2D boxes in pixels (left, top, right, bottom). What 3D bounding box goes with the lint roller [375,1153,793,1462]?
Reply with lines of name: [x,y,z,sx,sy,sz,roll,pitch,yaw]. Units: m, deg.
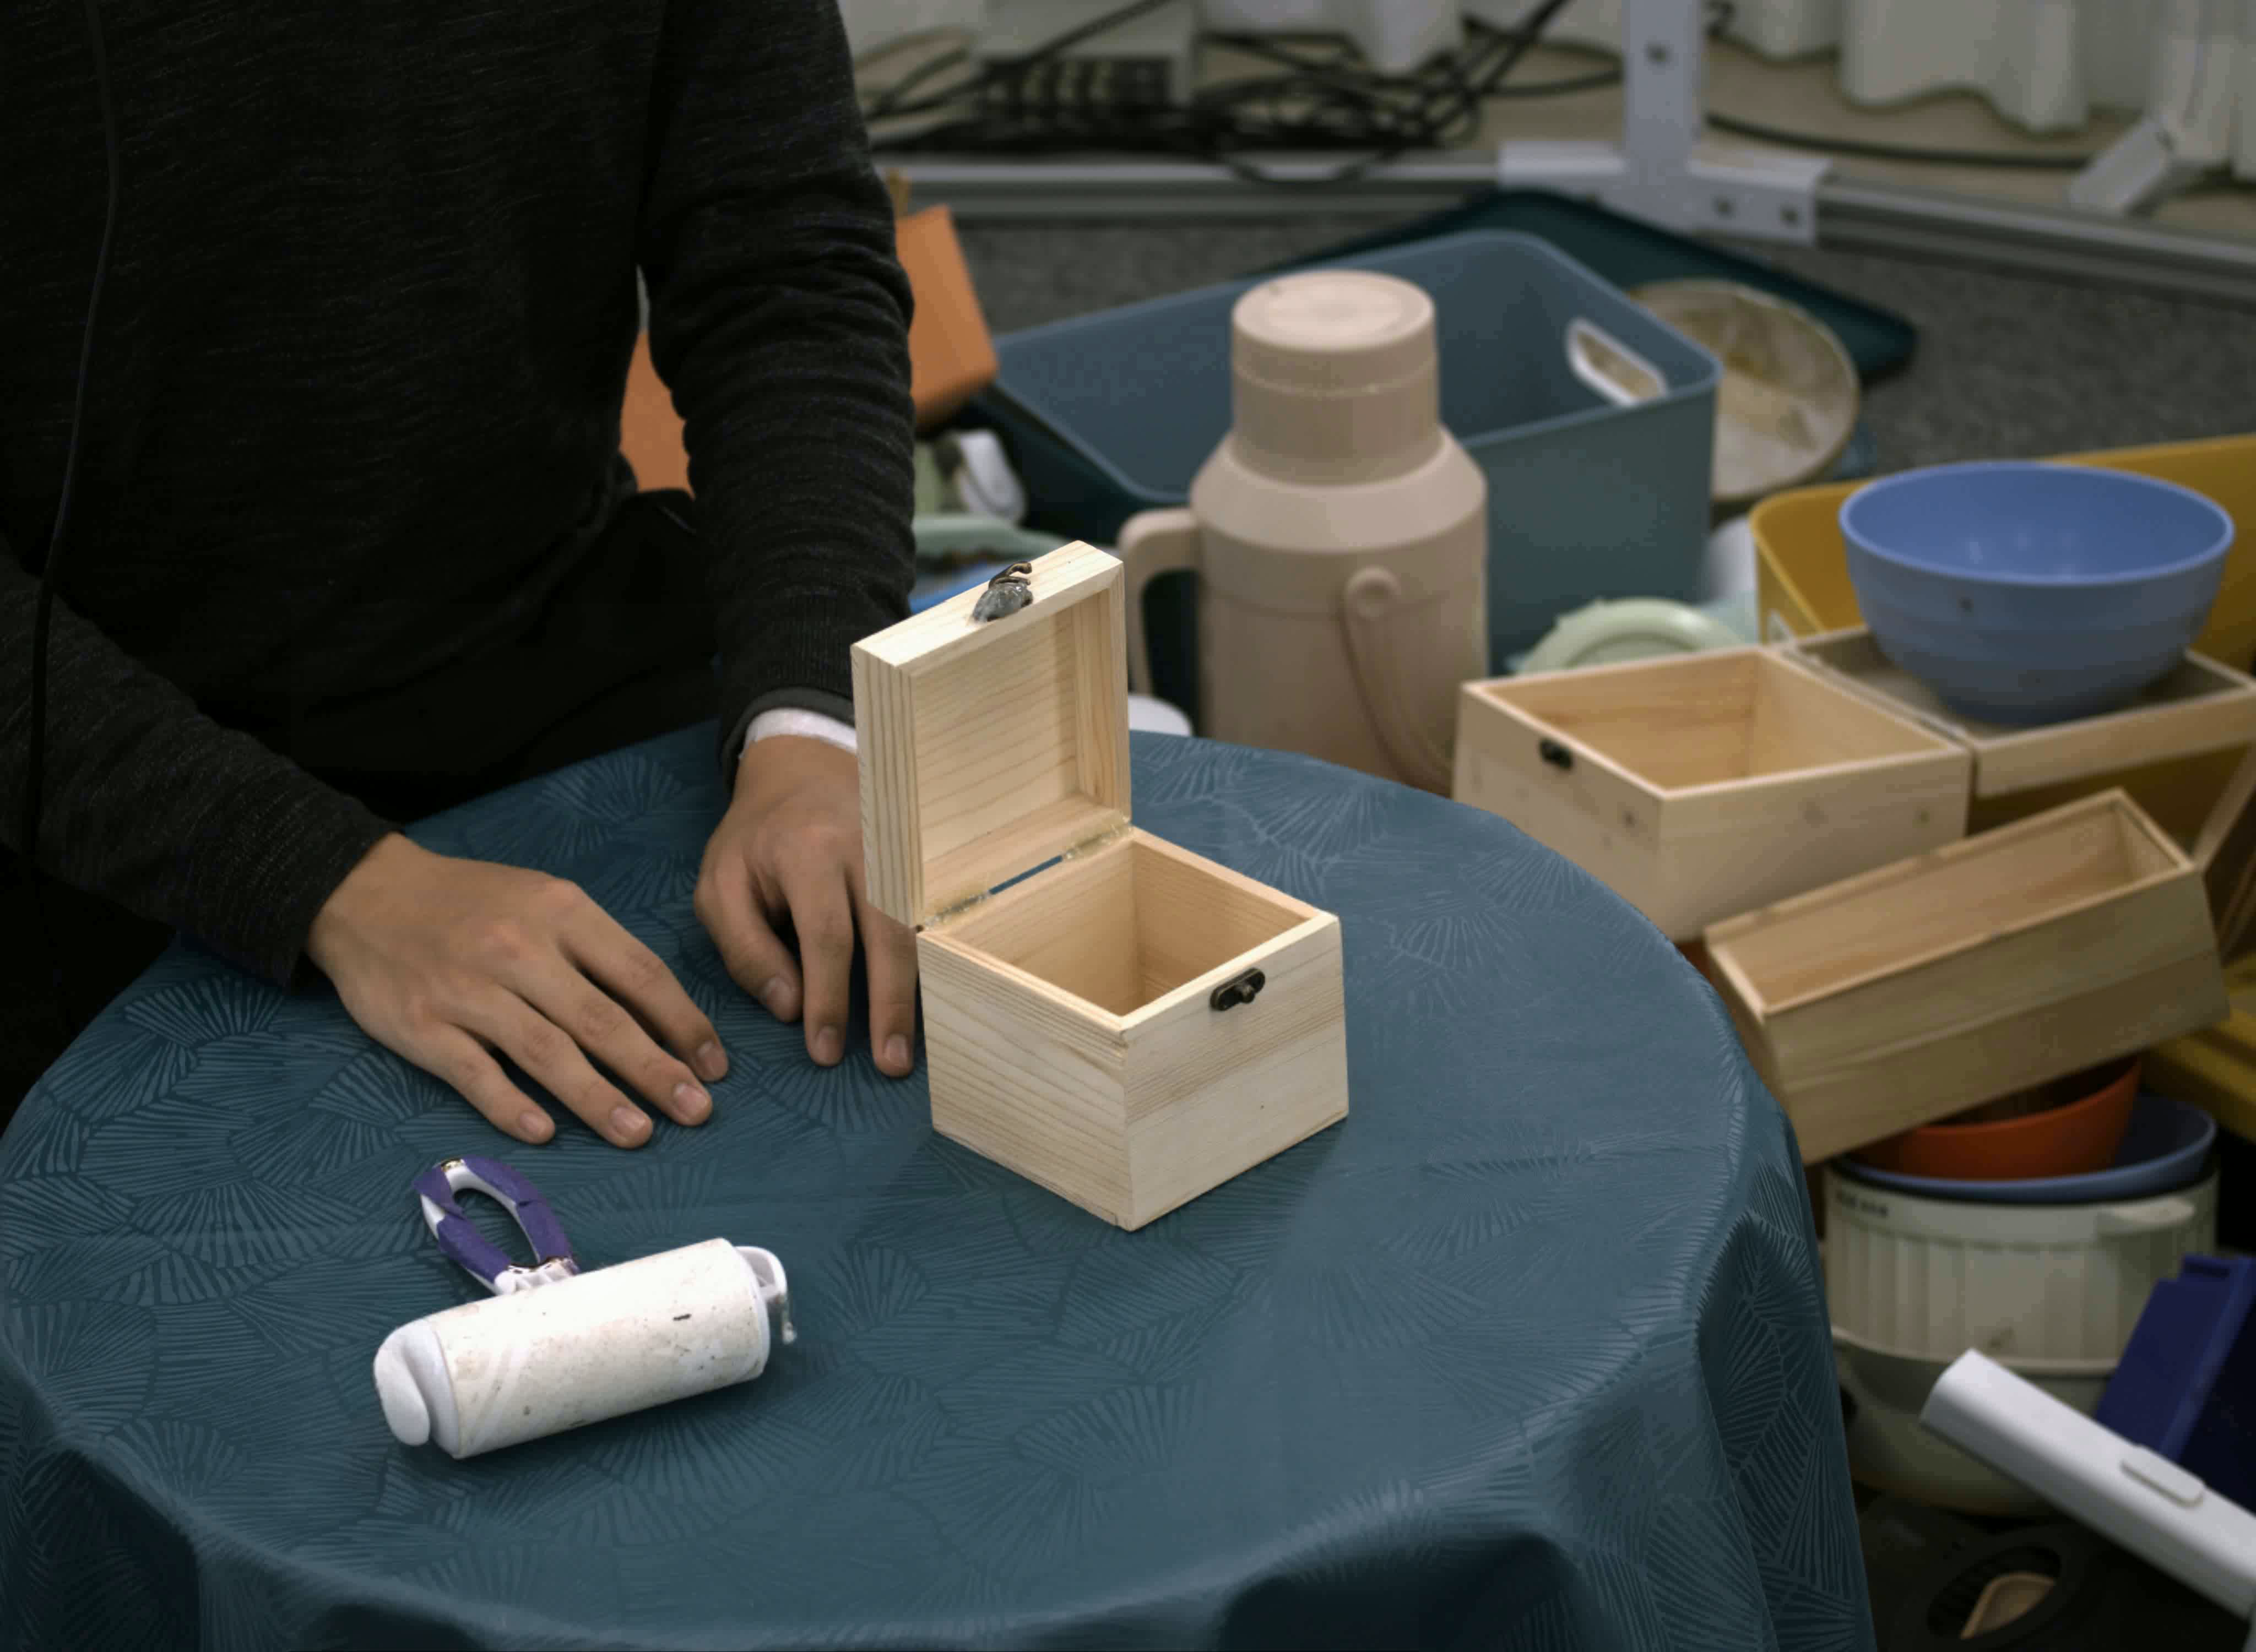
lint roller: [-0.192,0.135,1.803,0.133,0.049,0.182,-14,30,-17]

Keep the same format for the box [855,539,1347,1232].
box: [-0.007,0.017,1.867,0.104,0.182,0.134,-24,33,-37]
